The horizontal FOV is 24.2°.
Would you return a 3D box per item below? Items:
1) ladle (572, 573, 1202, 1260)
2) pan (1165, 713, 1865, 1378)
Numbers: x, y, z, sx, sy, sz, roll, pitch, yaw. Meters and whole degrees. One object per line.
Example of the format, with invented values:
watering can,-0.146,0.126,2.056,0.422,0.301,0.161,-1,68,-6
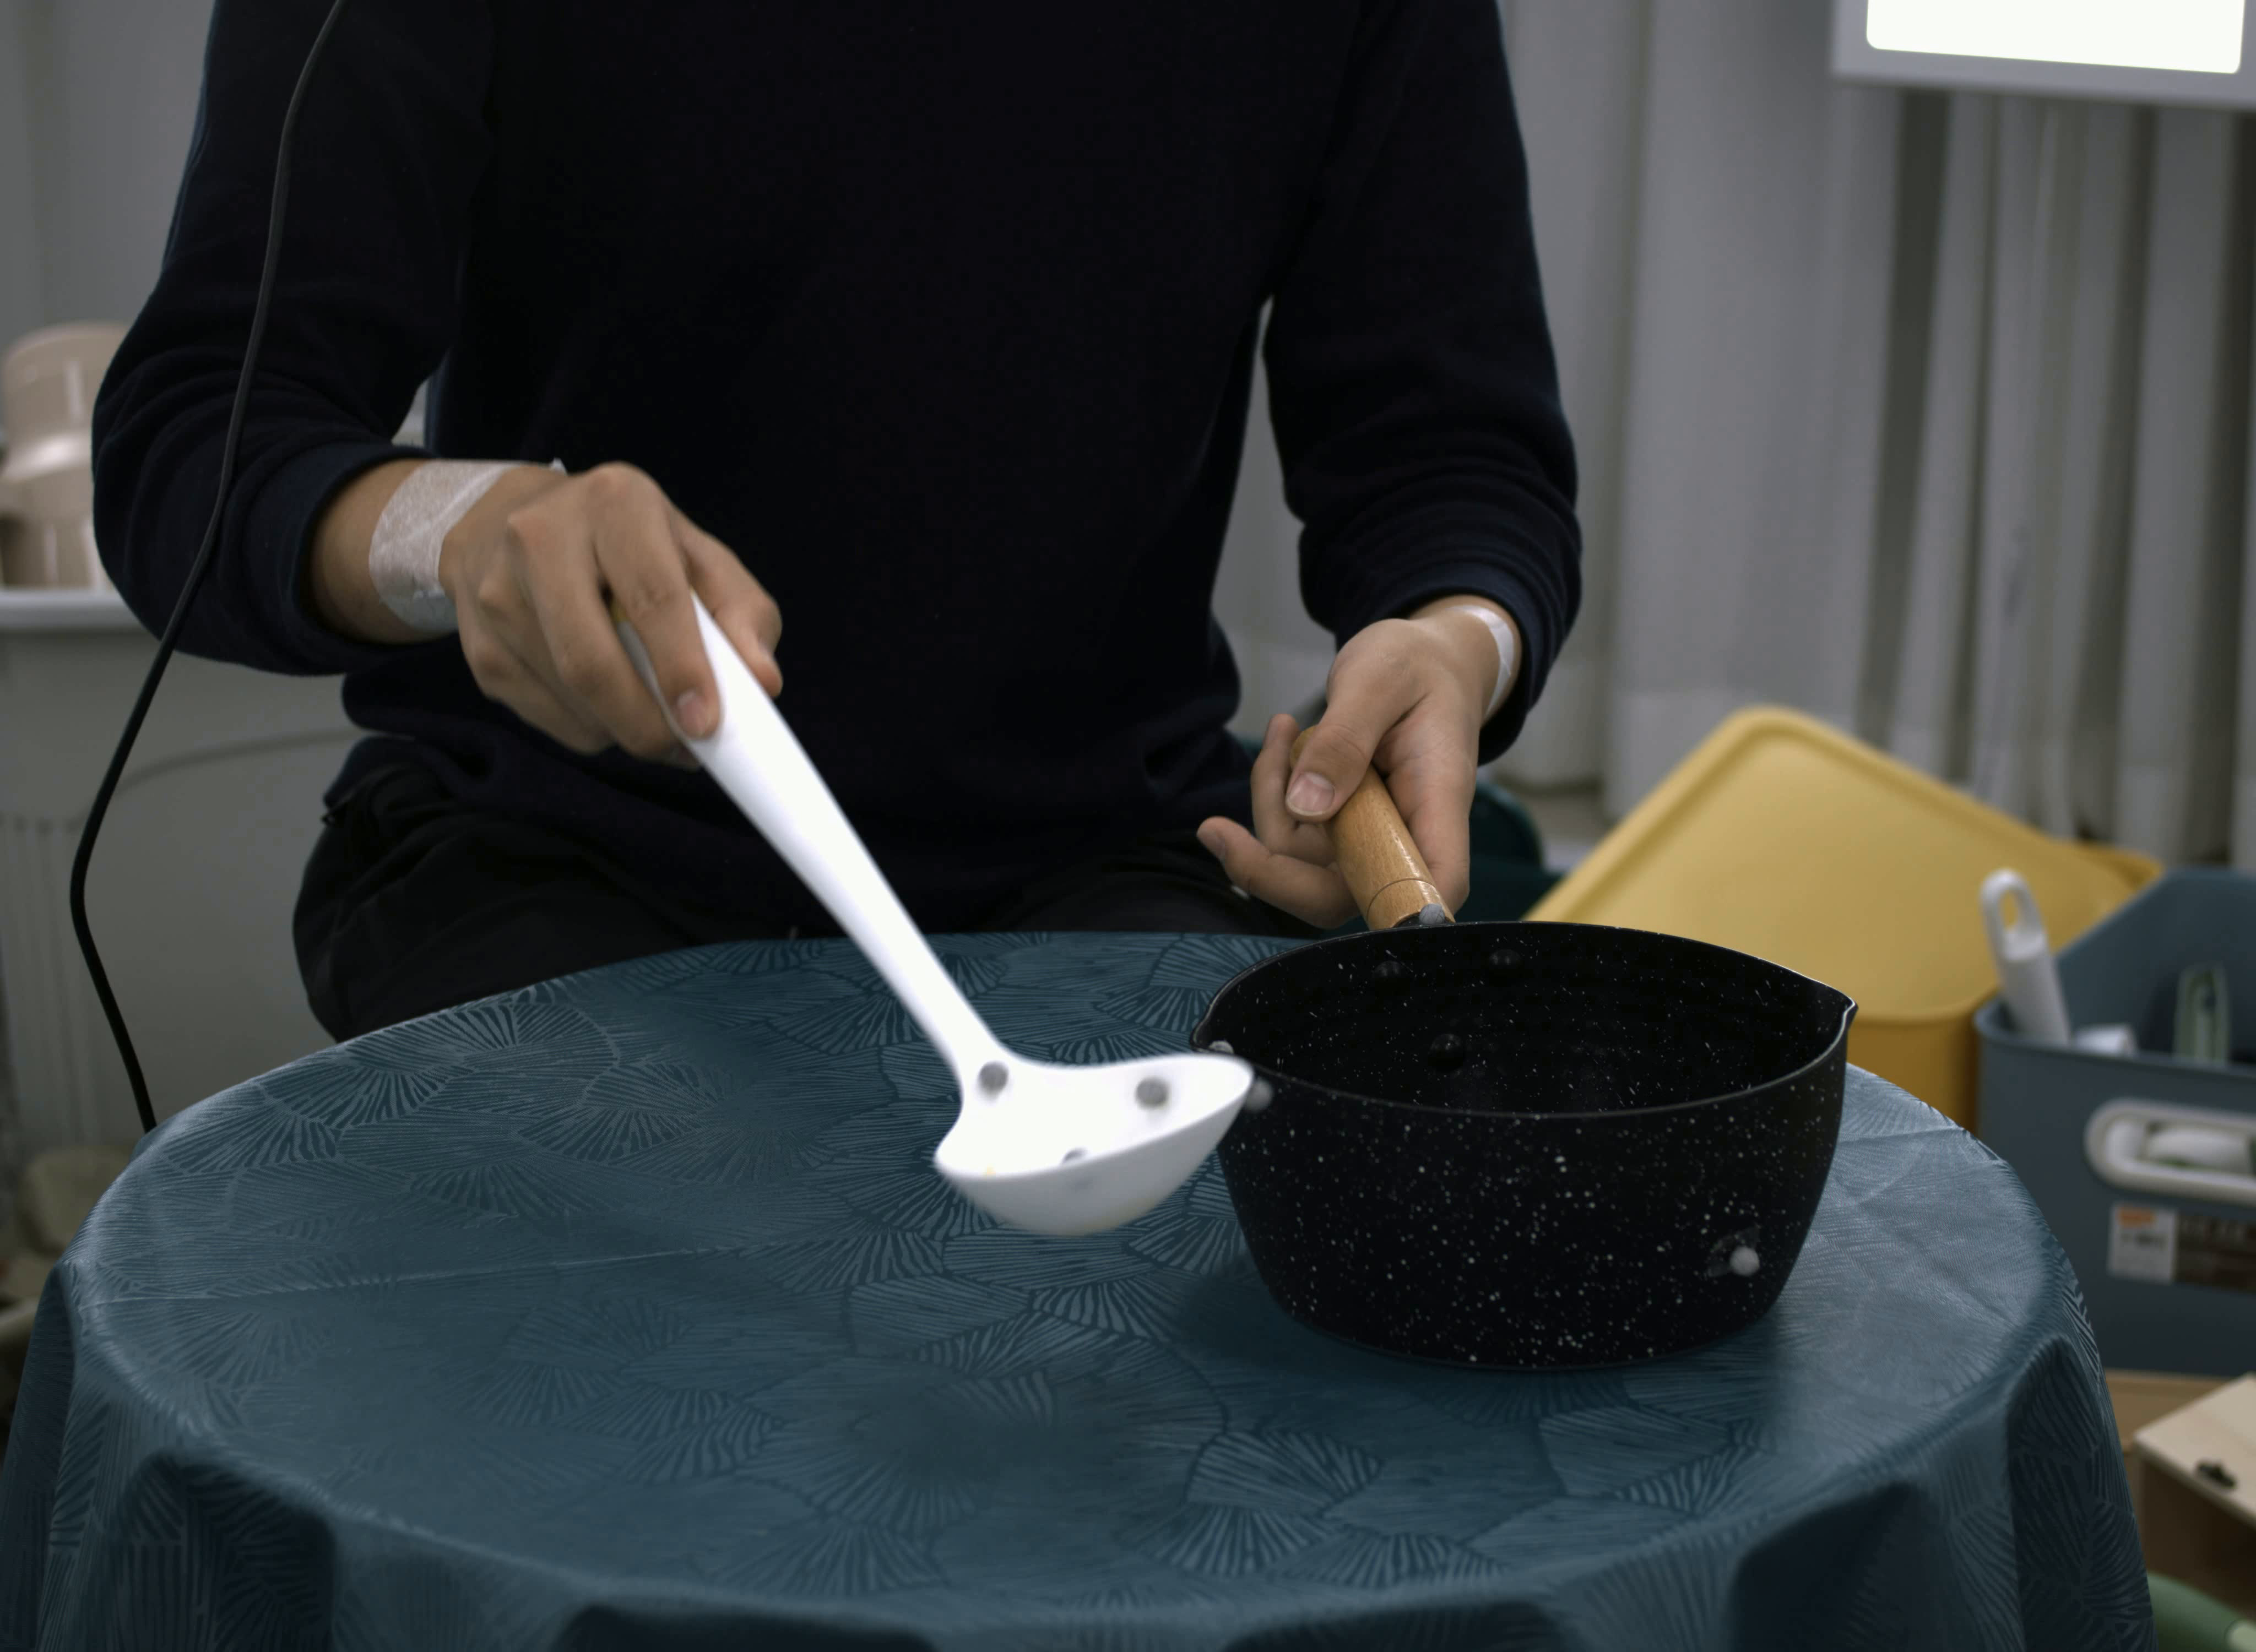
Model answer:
ladle,-0.080,0.016,1.480,0.090,0.071,0.289,-26,54,-18
pan,0.098,0.061,1.605,0.207,0.109,0.339,-4,18,-12
